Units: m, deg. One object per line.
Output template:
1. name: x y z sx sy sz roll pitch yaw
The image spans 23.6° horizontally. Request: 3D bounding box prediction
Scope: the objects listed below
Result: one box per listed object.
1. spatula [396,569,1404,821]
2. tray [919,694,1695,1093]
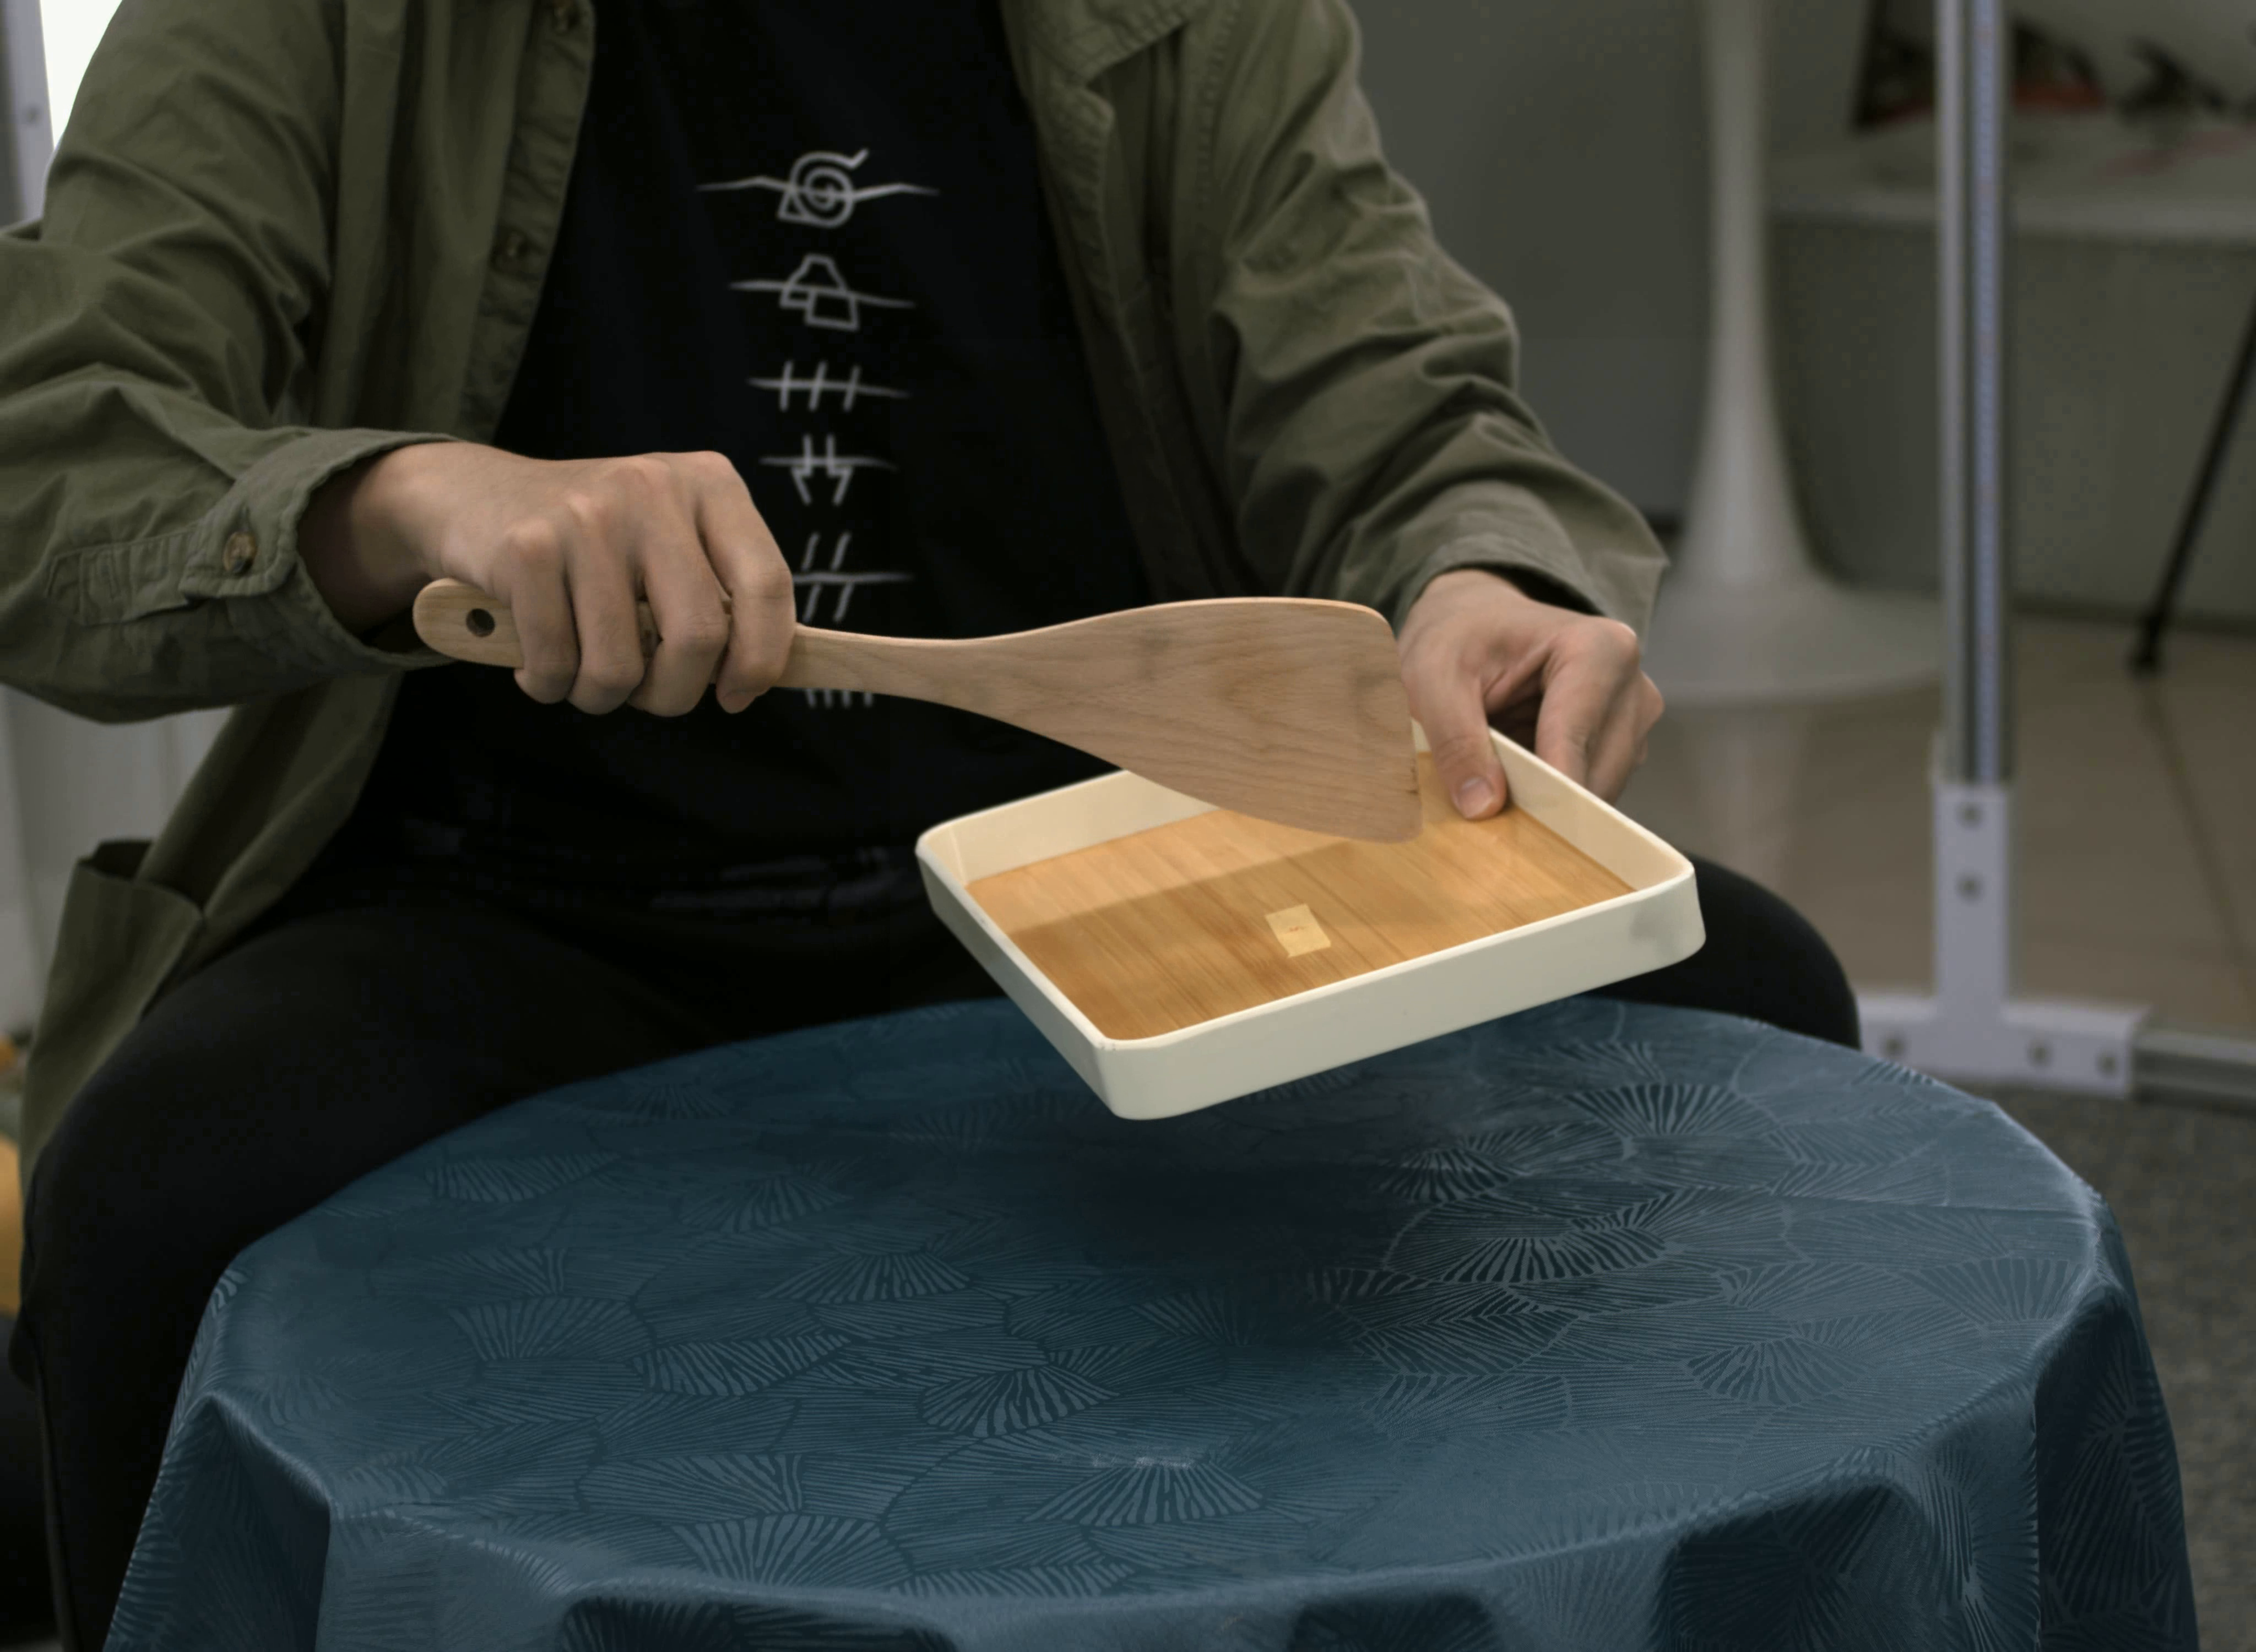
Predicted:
1. spatula: -0.073 -0.052 1.667 0.325 0.080 0.016 5 26 13
2. tray: 0.049 0.017 1.711 0.188 0.027 0.302 -16 13 -9
